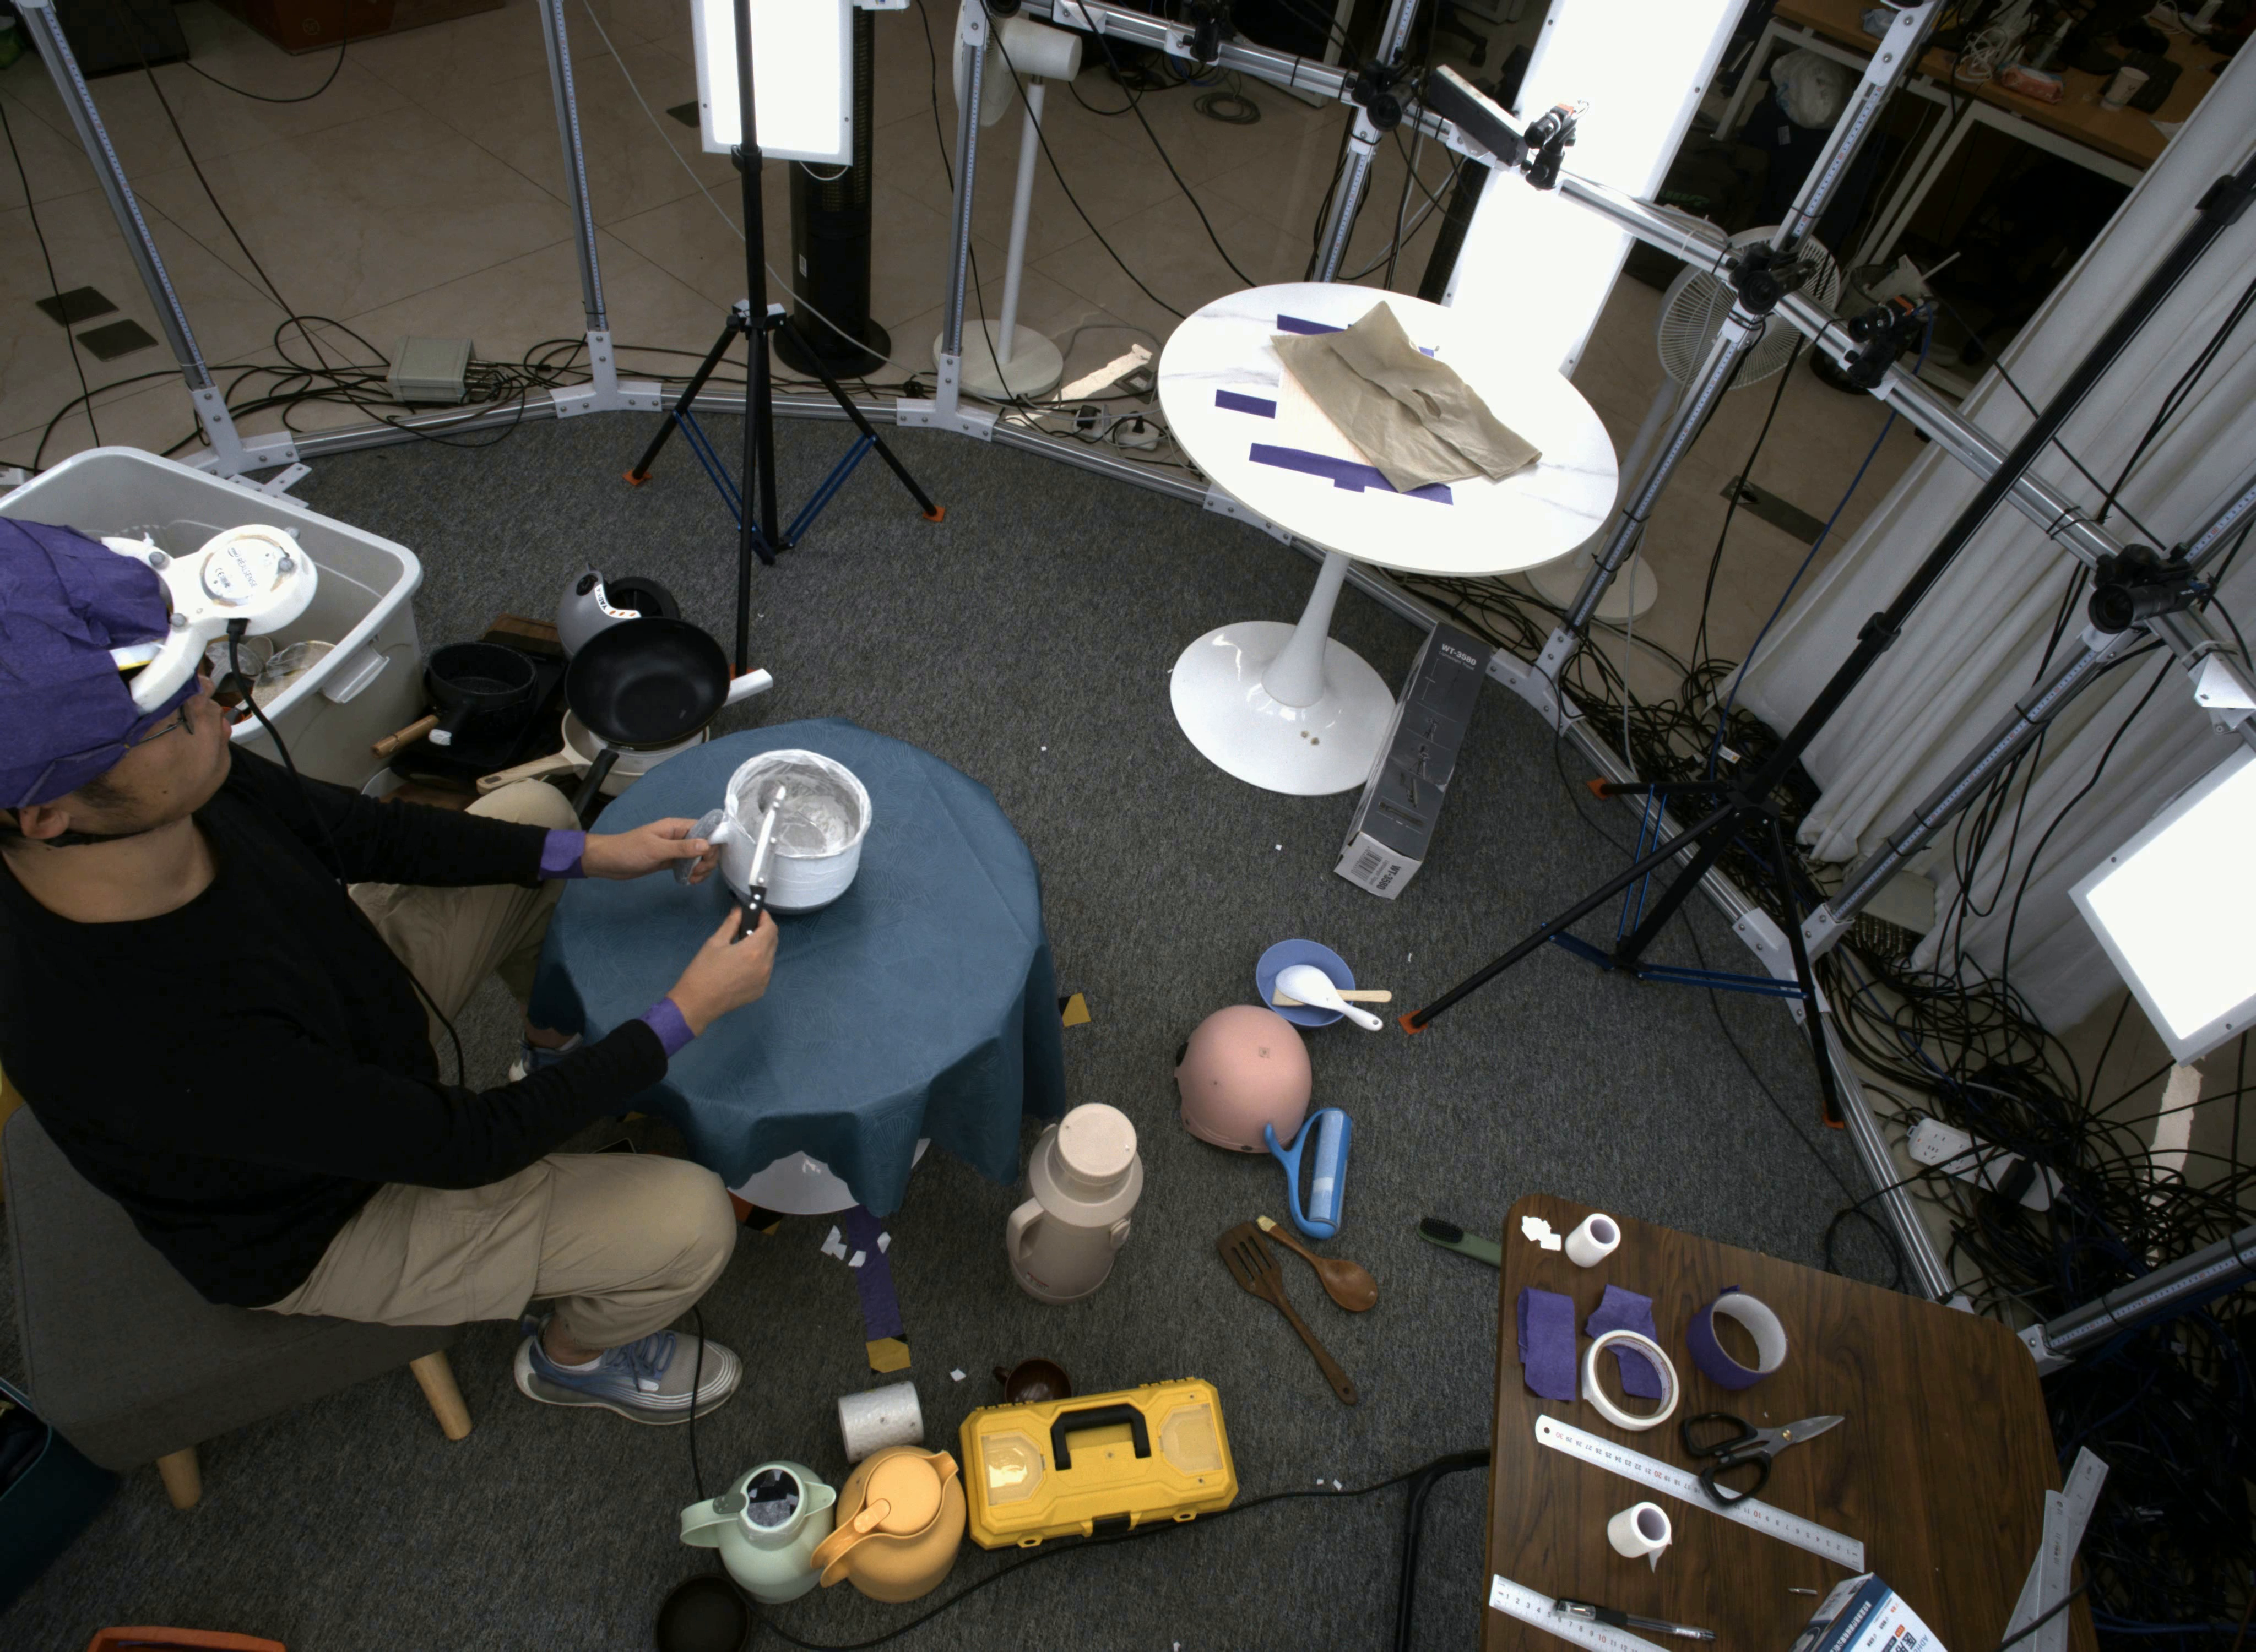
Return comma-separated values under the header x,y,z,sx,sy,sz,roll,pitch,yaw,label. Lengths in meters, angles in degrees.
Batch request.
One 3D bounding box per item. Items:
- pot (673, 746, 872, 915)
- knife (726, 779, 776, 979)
x,y,z,sx,sy,sz,roll,pitch,yaw,label
-0.442,0.012,1.599,0.236,0.138,0.174,-11,55,-35,pot
-0.432,0.058,1.498,0.024,0.016,0.238,11,75,-13,knife
